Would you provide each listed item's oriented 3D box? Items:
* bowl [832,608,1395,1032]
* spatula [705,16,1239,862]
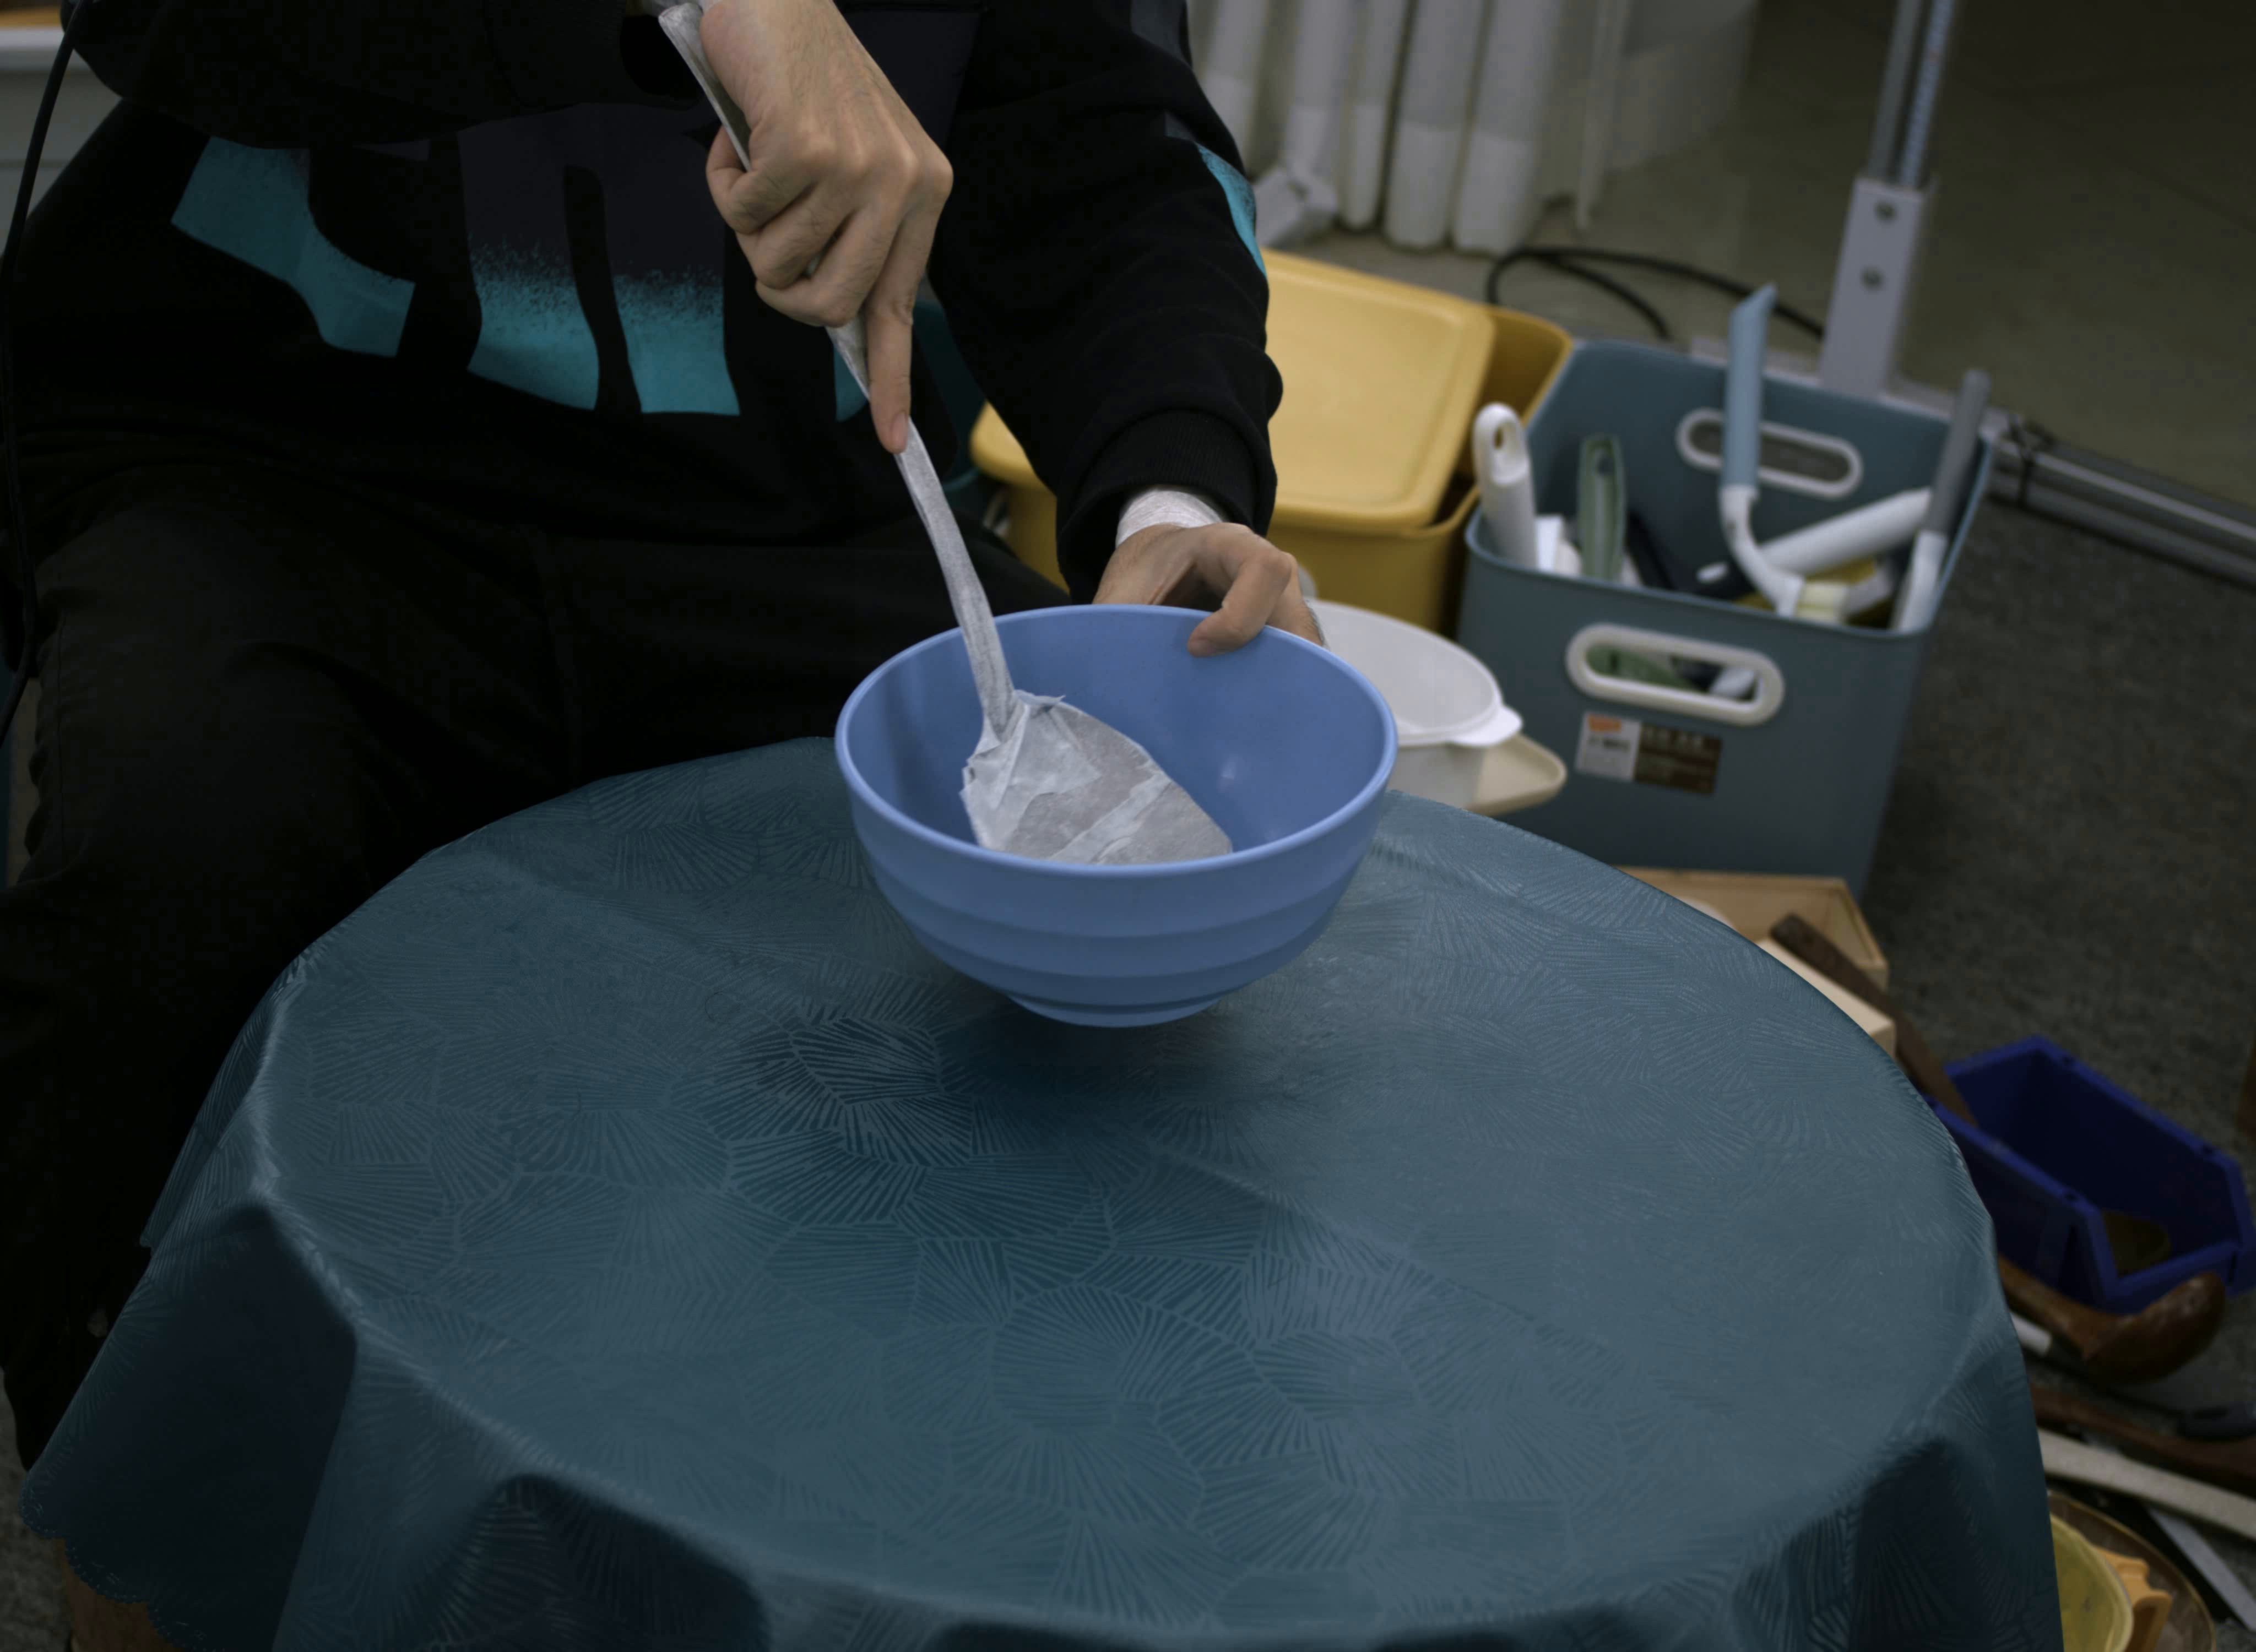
[{"bbox_3d":[-0.004,0.009,1.871,0.196,0.095,0.198,-1,29,0],"label":"bowl"},{"bbox_3d":[-0.064,-0.117,1.864,0.045,0.364,0.098,-12,16,46],"label":"spatula"}]
